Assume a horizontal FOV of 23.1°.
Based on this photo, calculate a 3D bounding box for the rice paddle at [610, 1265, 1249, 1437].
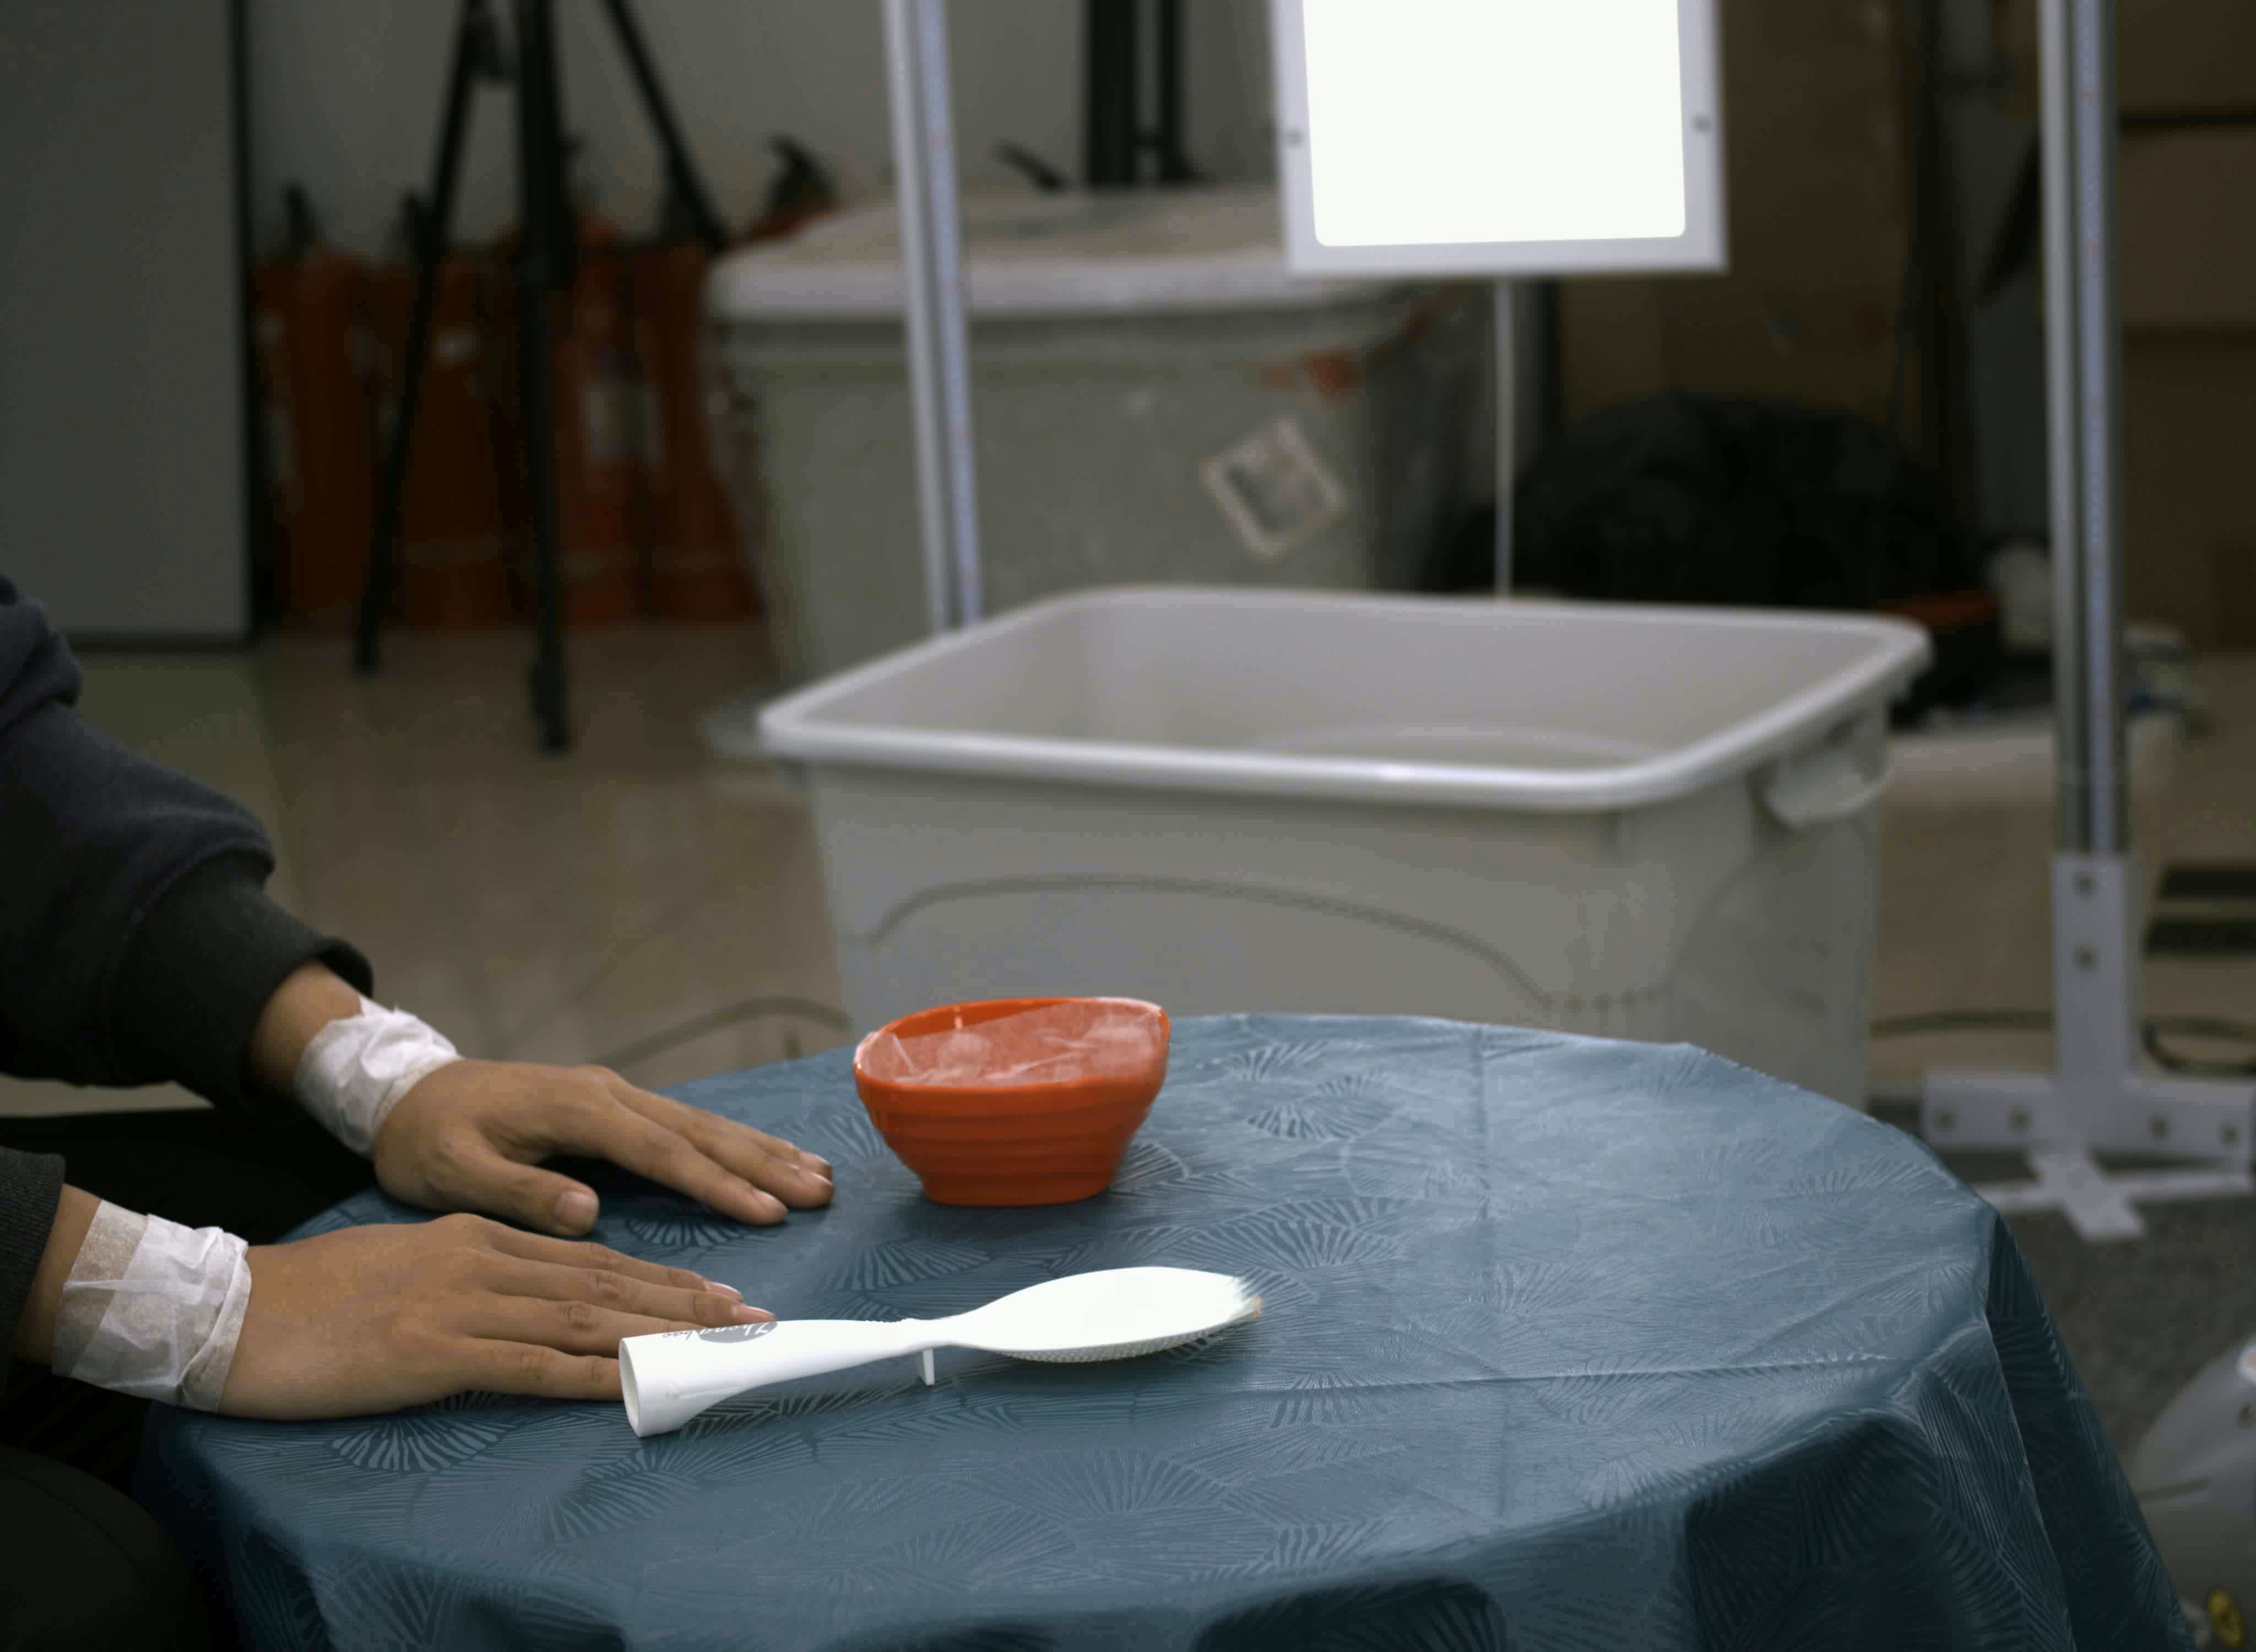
[{"bbox_3d":[-0.060,0.159,1.724,0.202,0.029,0.069,-8,15,-13],"label":"rice paddle"}]

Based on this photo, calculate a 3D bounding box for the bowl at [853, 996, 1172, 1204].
[{"bbox_3d":[-0.039,0.097,1.918,0.118,0.051,0.119,-4,14,0],"label":"bowl"}]
